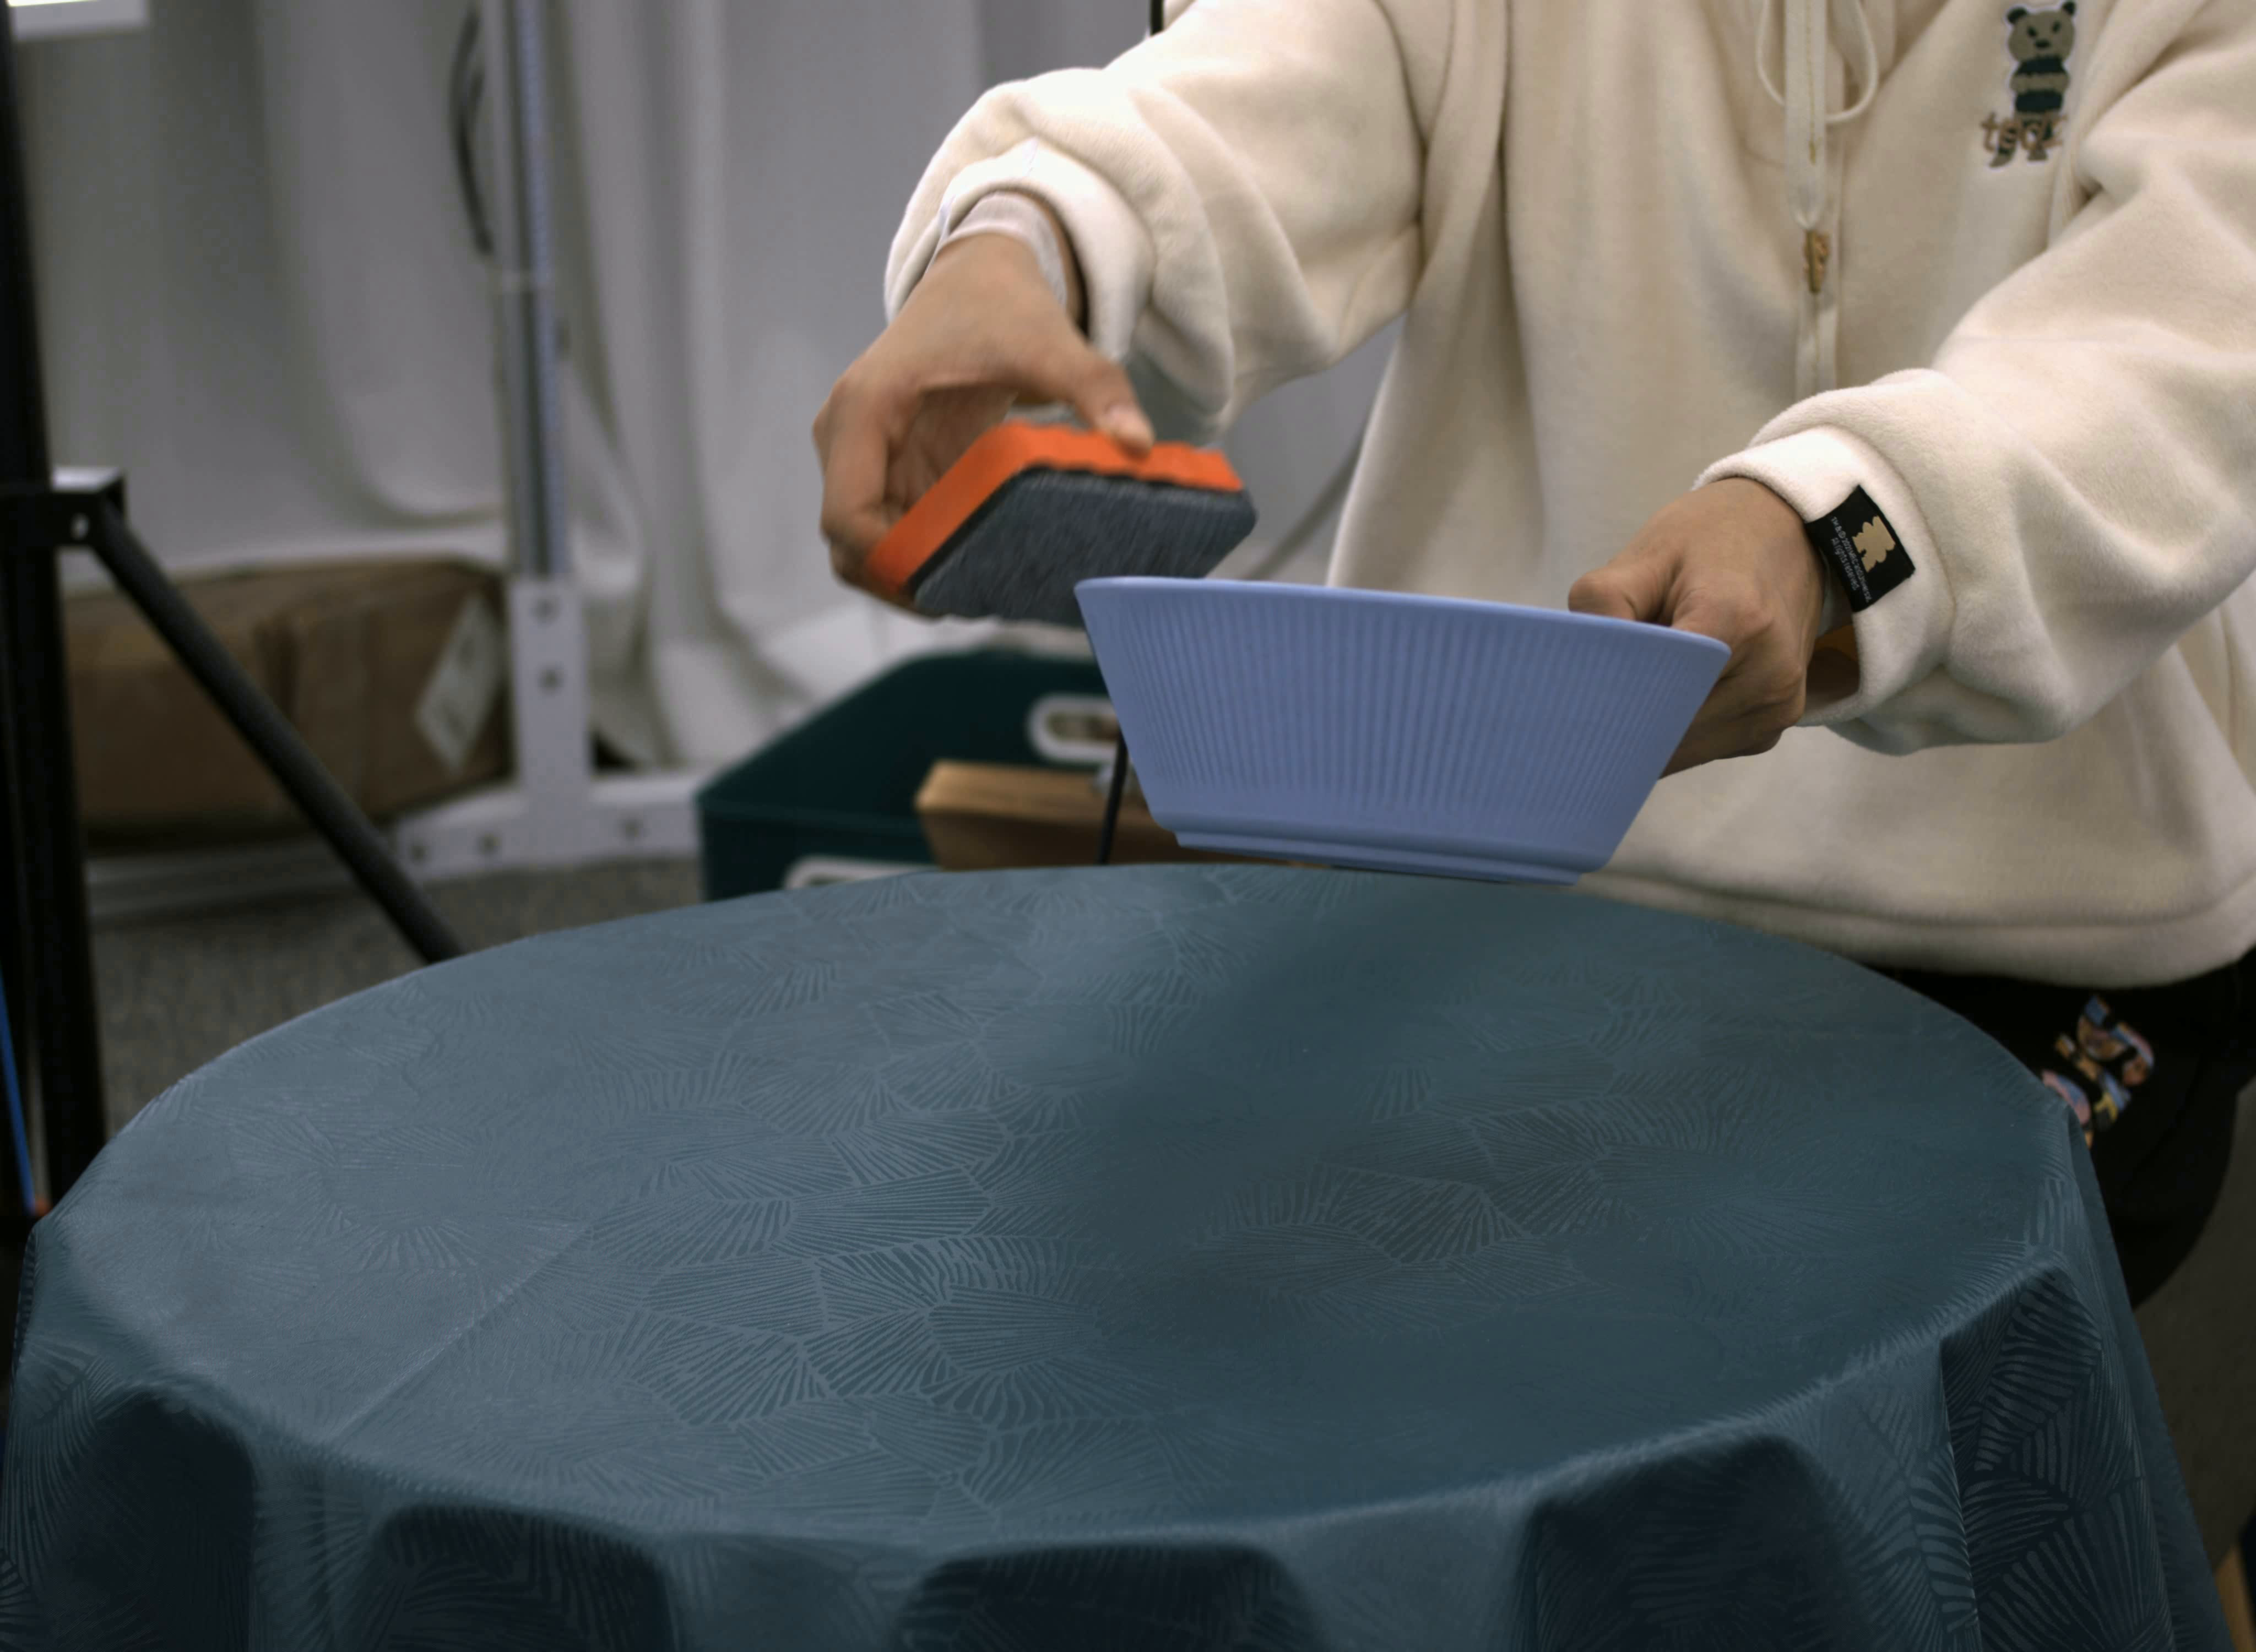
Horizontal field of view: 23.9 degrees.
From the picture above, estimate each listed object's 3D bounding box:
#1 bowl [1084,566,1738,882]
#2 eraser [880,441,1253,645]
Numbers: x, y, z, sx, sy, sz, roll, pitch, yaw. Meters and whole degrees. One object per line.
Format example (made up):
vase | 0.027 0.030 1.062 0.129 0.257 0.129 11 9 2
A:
bowl | 0.072 -0.025 1.412 0.175 0.070 0.176 6 -2 -1
eraser | -0.017 -0.078 1.496 0.105 0.059 0.023 2 48 -50
